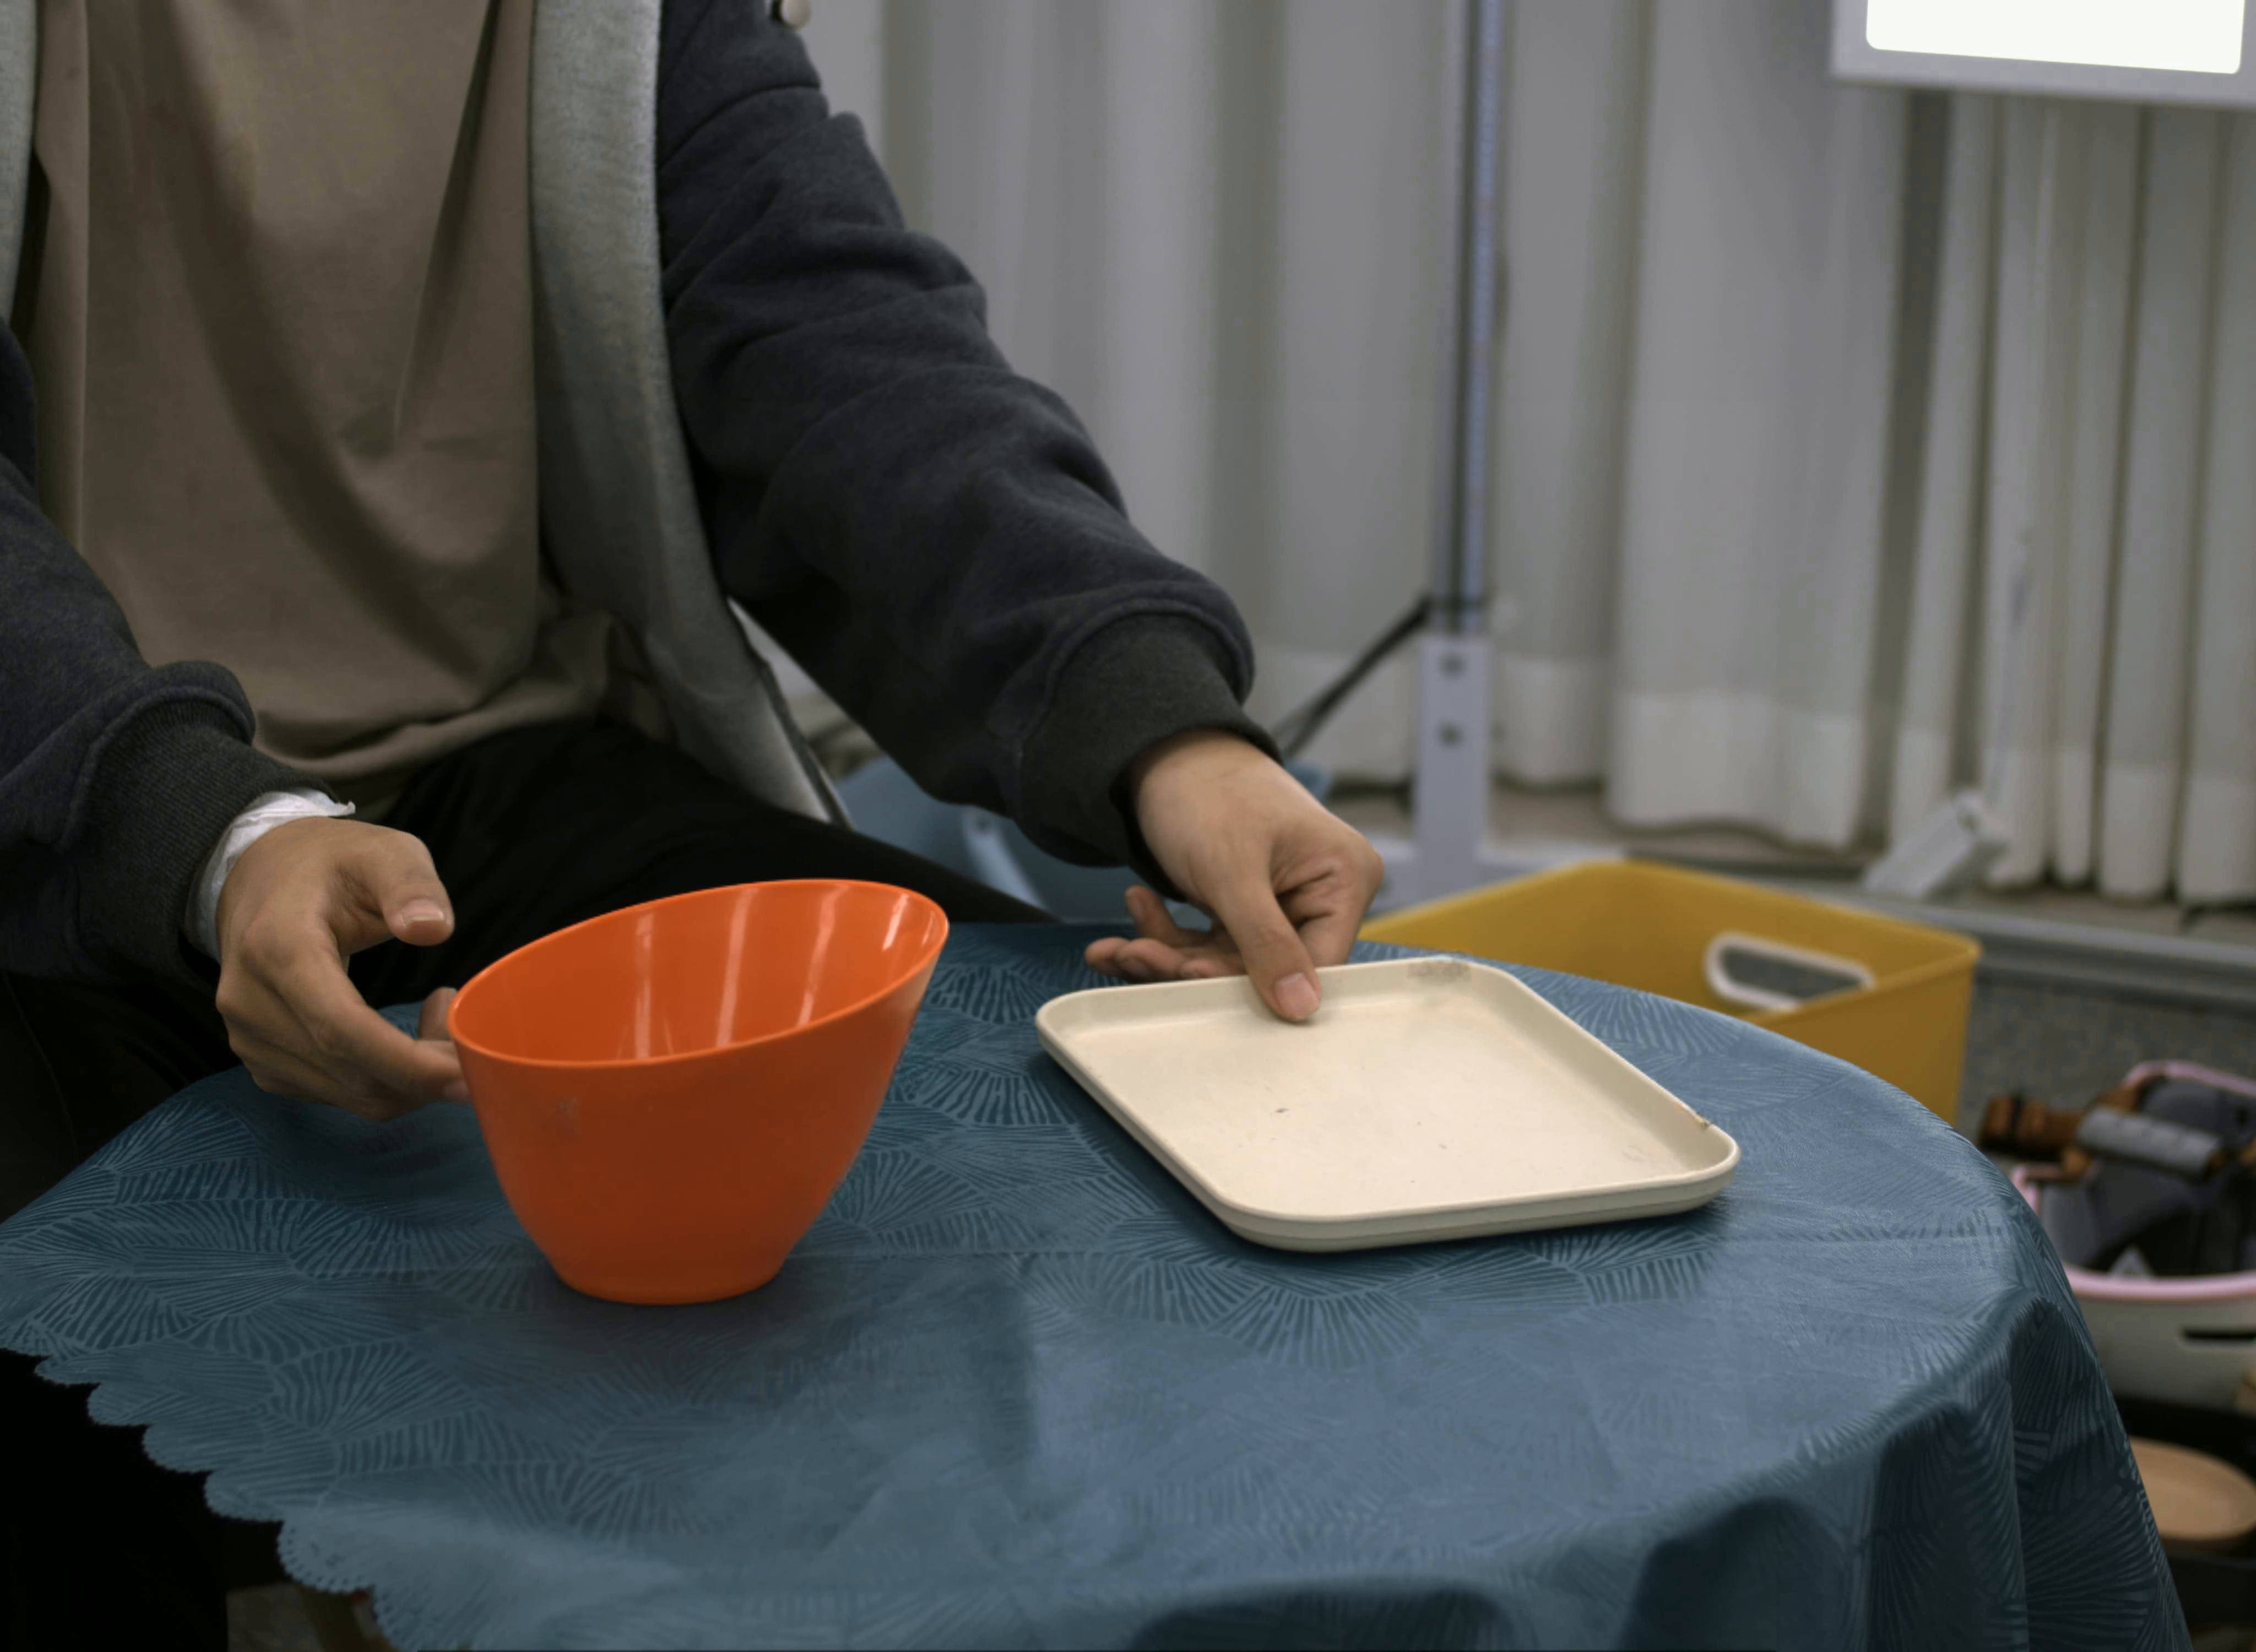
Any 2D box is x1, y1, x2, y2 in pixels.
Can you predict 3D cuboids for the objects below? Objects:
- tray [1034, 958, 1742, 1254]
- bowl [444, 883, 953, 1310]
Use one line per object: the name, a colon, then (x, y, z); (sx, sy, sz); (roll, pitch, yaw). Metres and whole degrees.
tray: (0.079, 0.088, 1.681); (0.171, 0.017, 0.237); (-5, 16, -18)
bowl: (-0.125, 0.081, 1.540); (0.147, 0.105, 0.147); (1, 17, 0)
